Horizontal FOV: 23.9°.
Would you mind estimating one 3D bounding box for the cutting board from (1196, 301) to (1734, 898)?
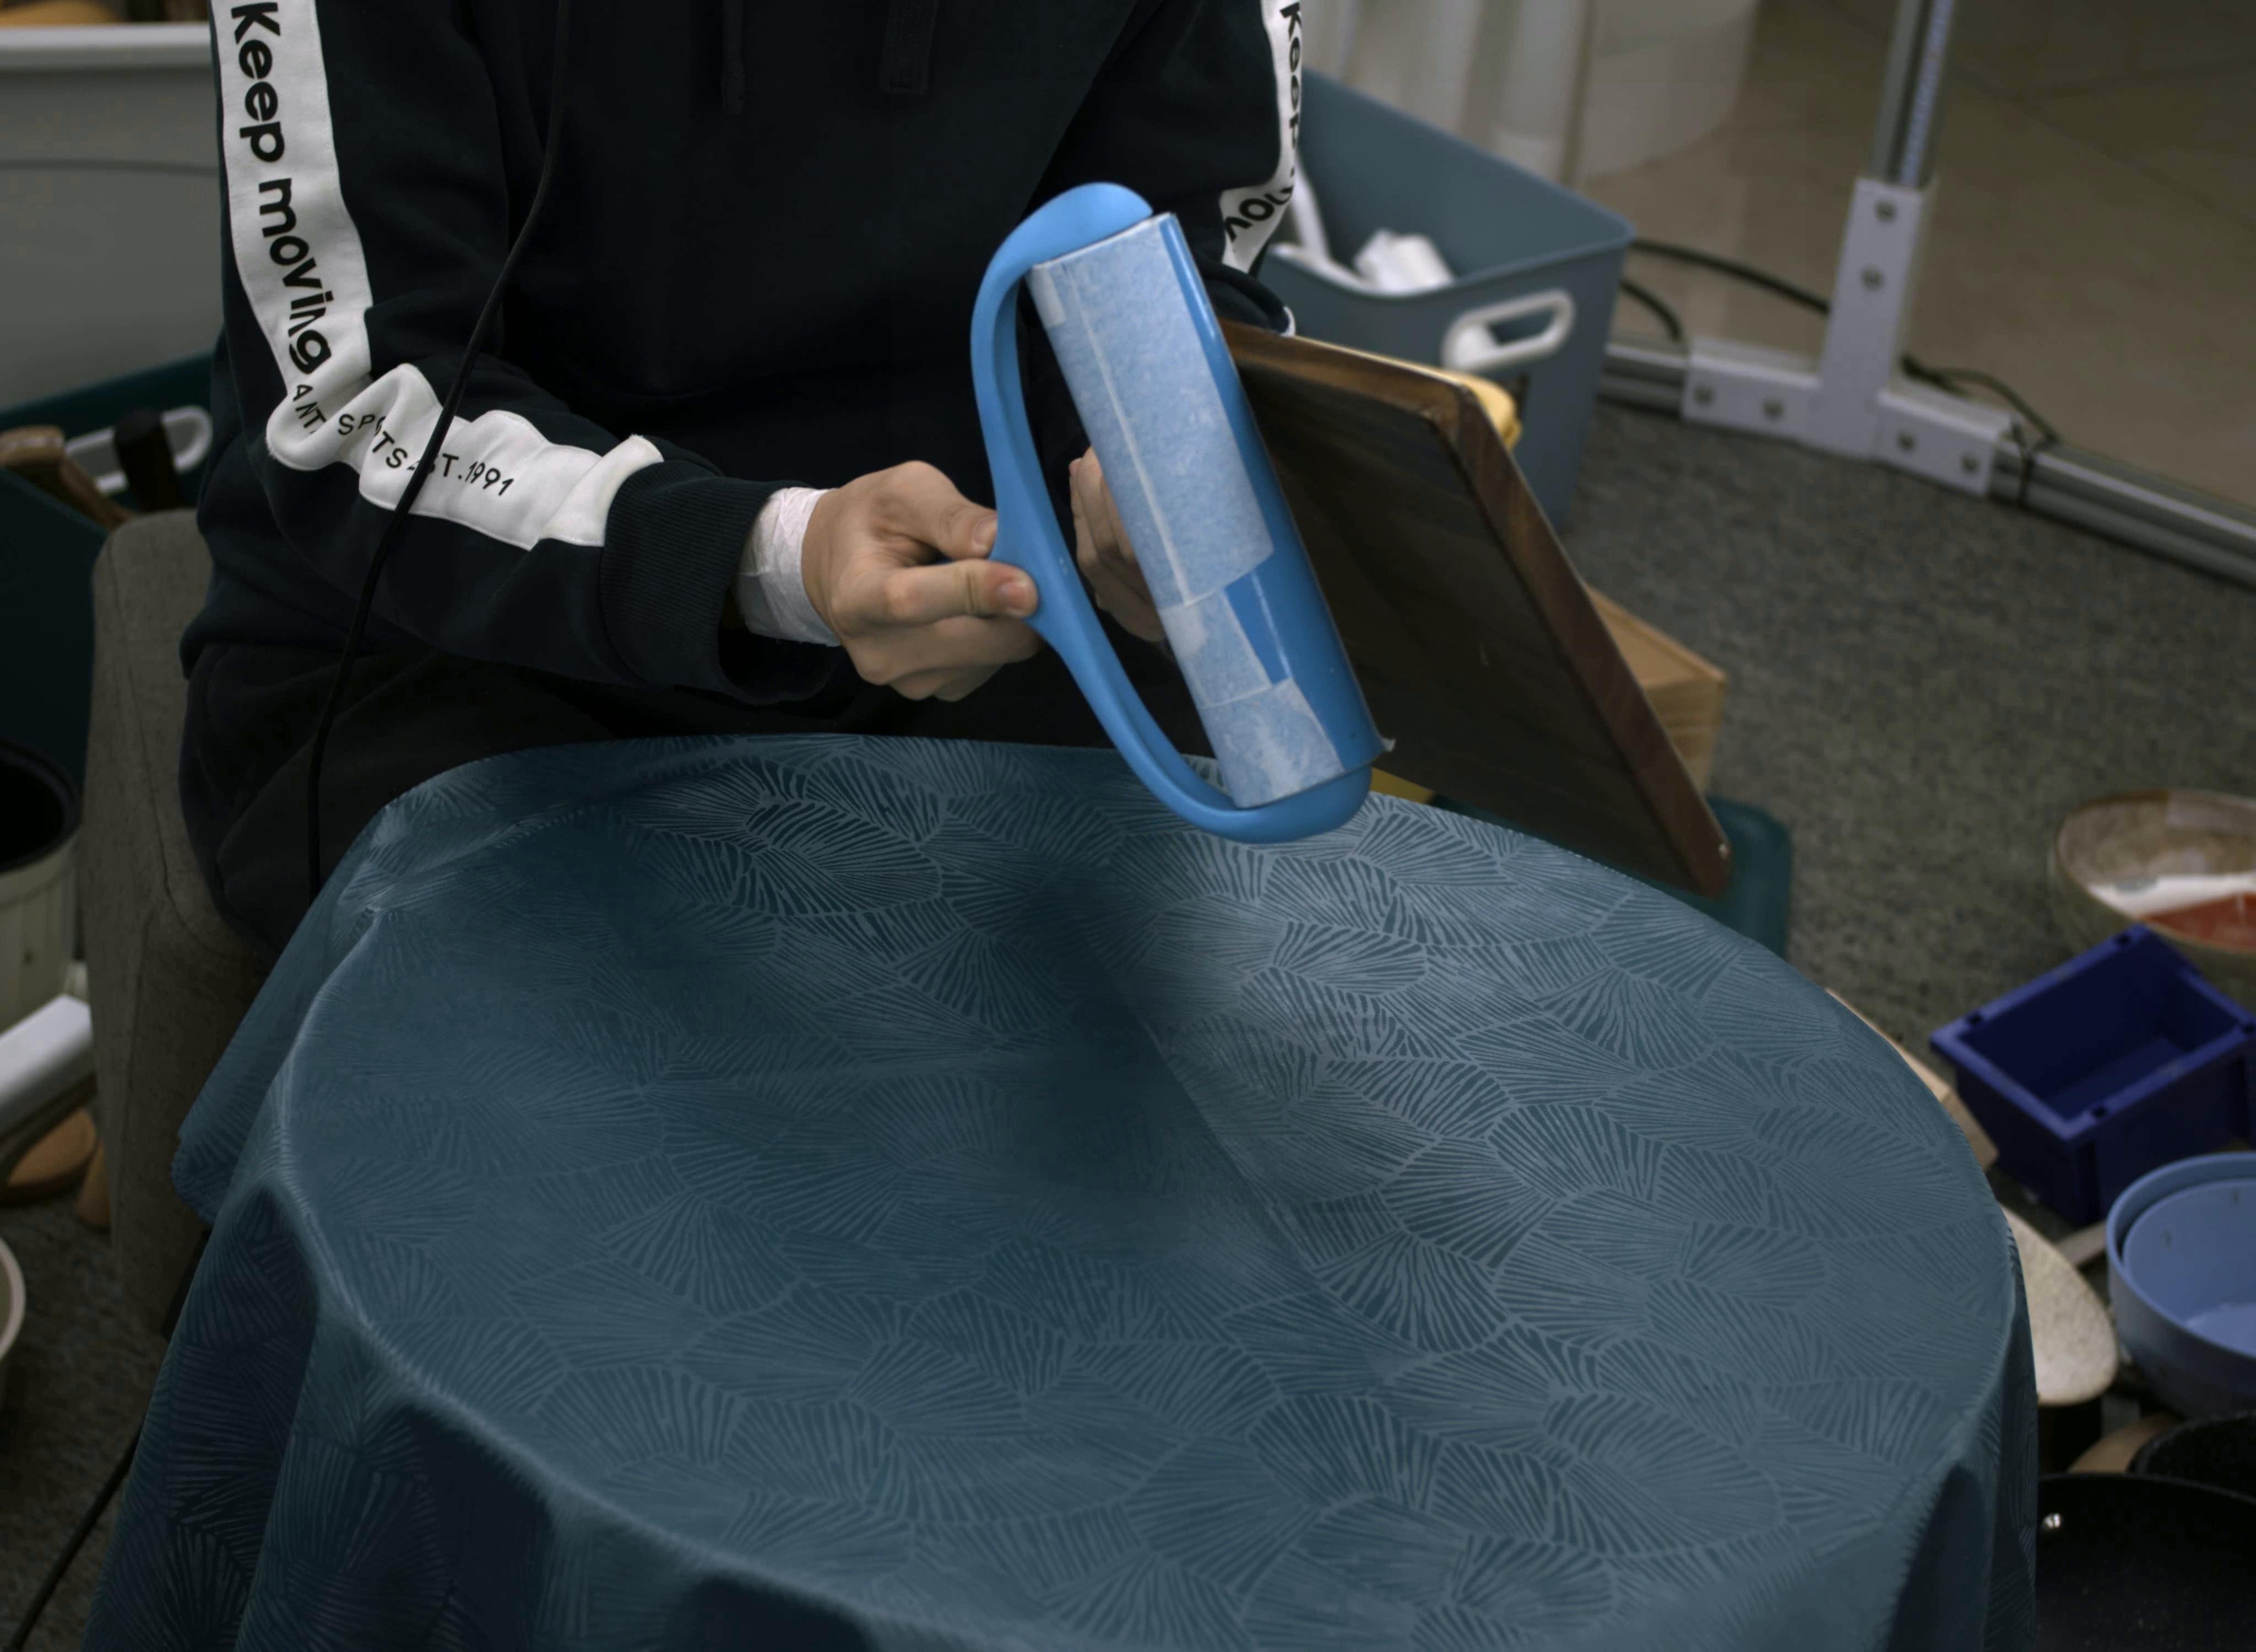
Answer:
[{"bbox_3d":[0.072,-0.091,1.825,0.023,0.200,0.354,-37,24,-14],"label":"cutting board"}]

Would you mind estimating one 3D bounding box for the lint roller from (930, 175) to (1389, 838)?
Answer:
[{"bbox_3d":[-0.016,-0.091,1.794,0.180,0.229,0.068,-20,7,43],"label":"lint roller"}]
